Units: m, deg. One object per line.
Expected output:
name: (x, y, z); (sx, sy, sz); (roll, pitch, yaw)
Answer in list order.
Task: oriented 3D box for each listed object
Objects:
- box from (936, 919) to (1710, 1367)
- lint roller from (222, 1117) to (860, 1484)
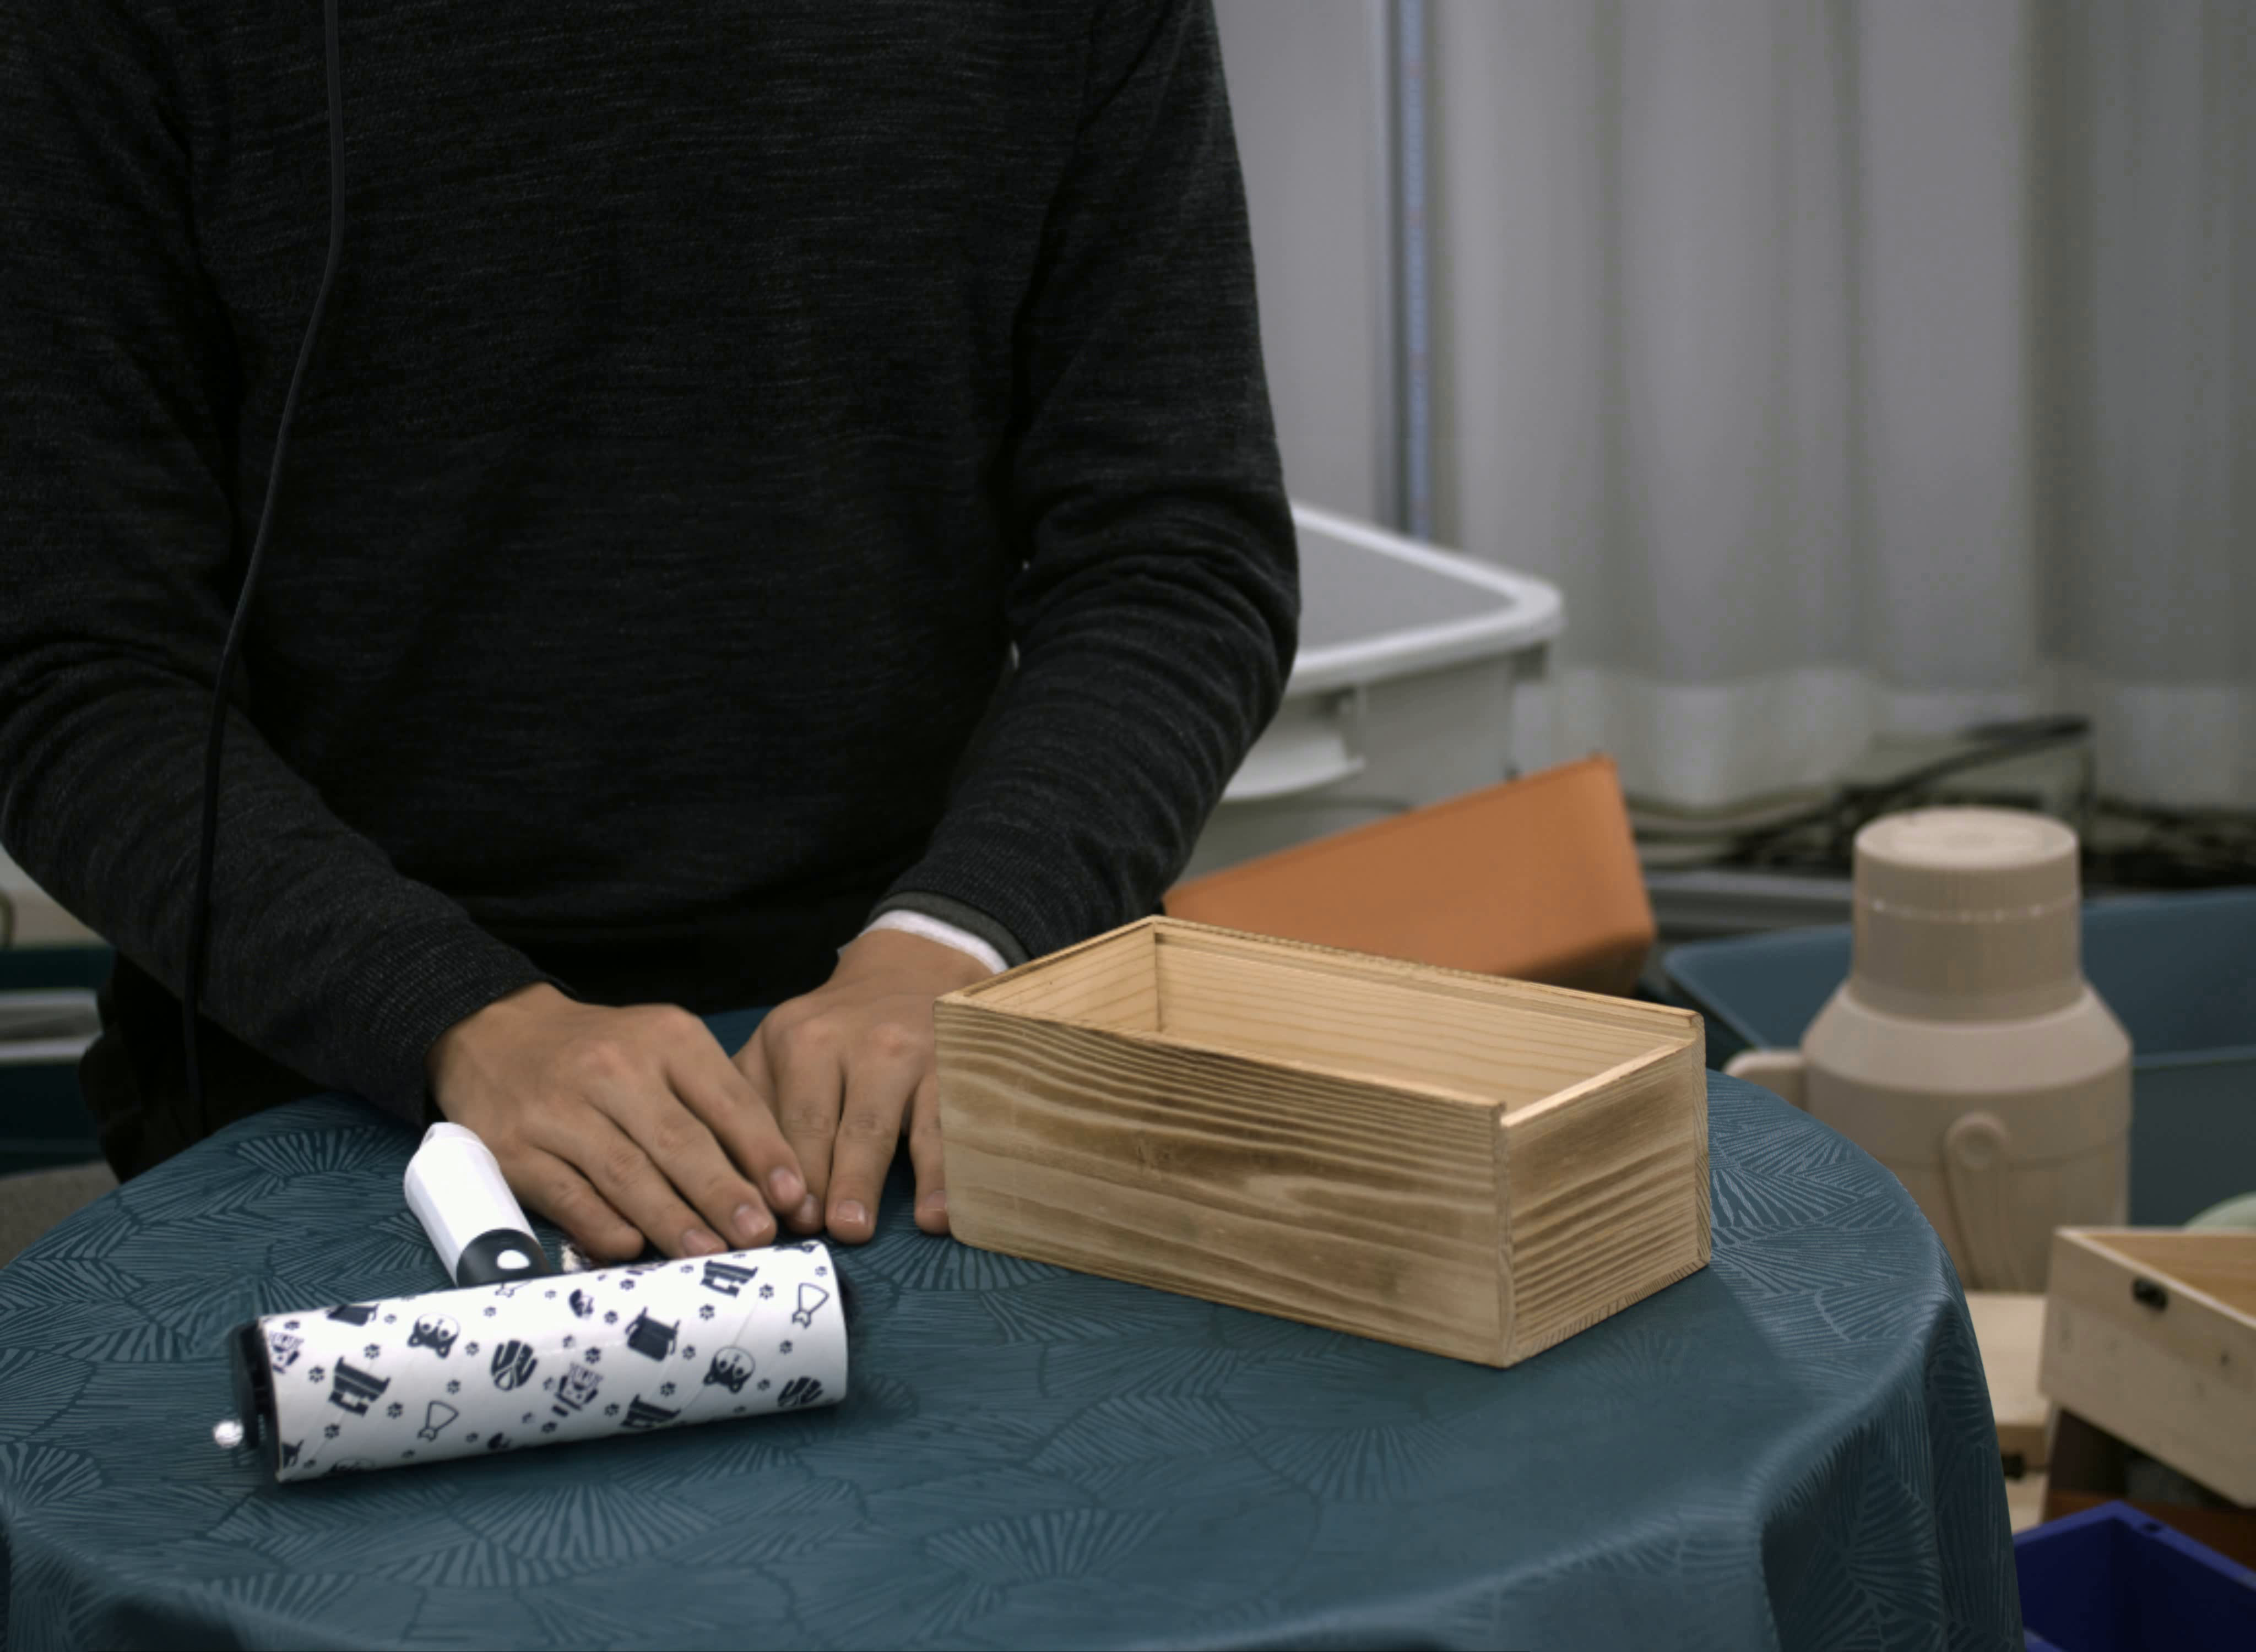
box: (0.057, 0.091, 1.637); (0.212, 0.080, 0.107); (9, 18, 39)
lint roller: (-0.191, 0.122, 1.620); (0.175, 0.050, 0.249); (-12, 16, -14)
